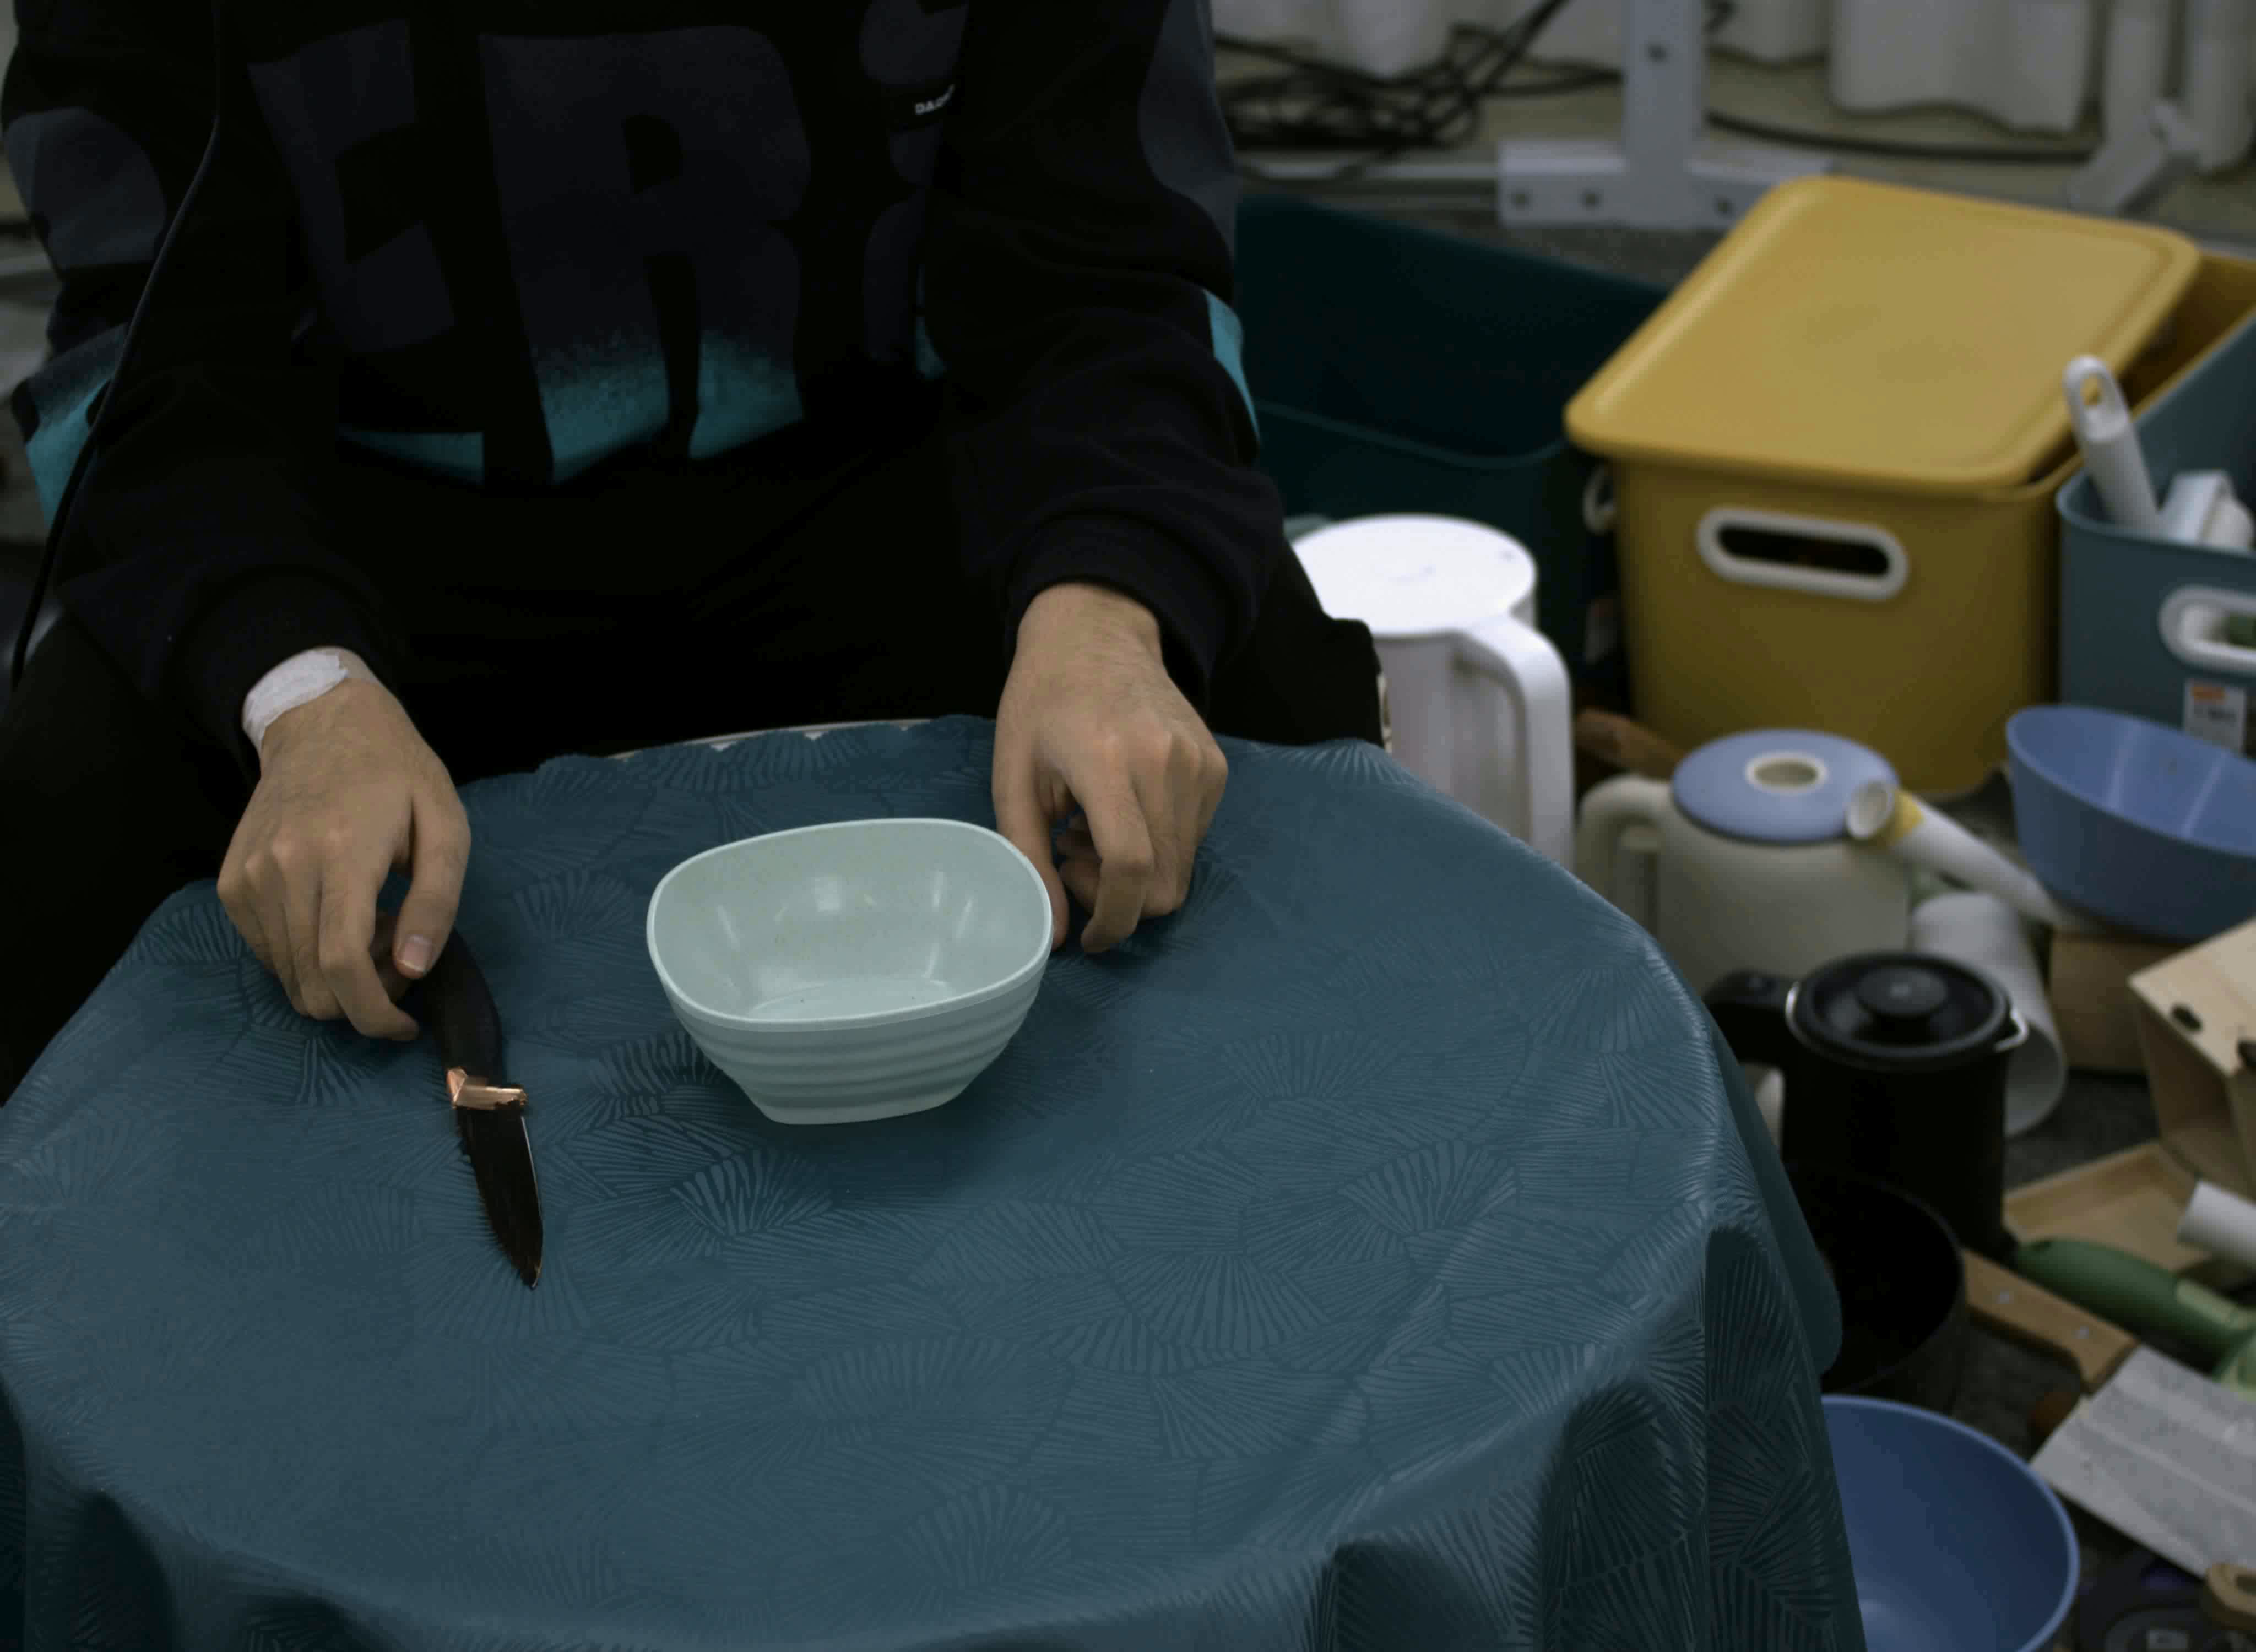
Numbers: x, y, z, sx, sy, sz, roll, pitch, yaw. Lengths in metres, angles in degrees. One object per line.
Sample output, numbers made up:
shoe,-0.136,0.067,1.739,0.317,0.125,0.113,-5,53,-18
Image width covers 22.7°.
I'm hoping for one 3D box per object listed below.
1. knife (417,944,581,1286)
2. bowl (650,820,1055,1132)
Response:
knife,-0.216,0.098,1.918,0.026,0.017,0.228,-3,28,-16
bowl,-0.092,0.058,1.936,0.150,0.058,0.154,-3,28,2
